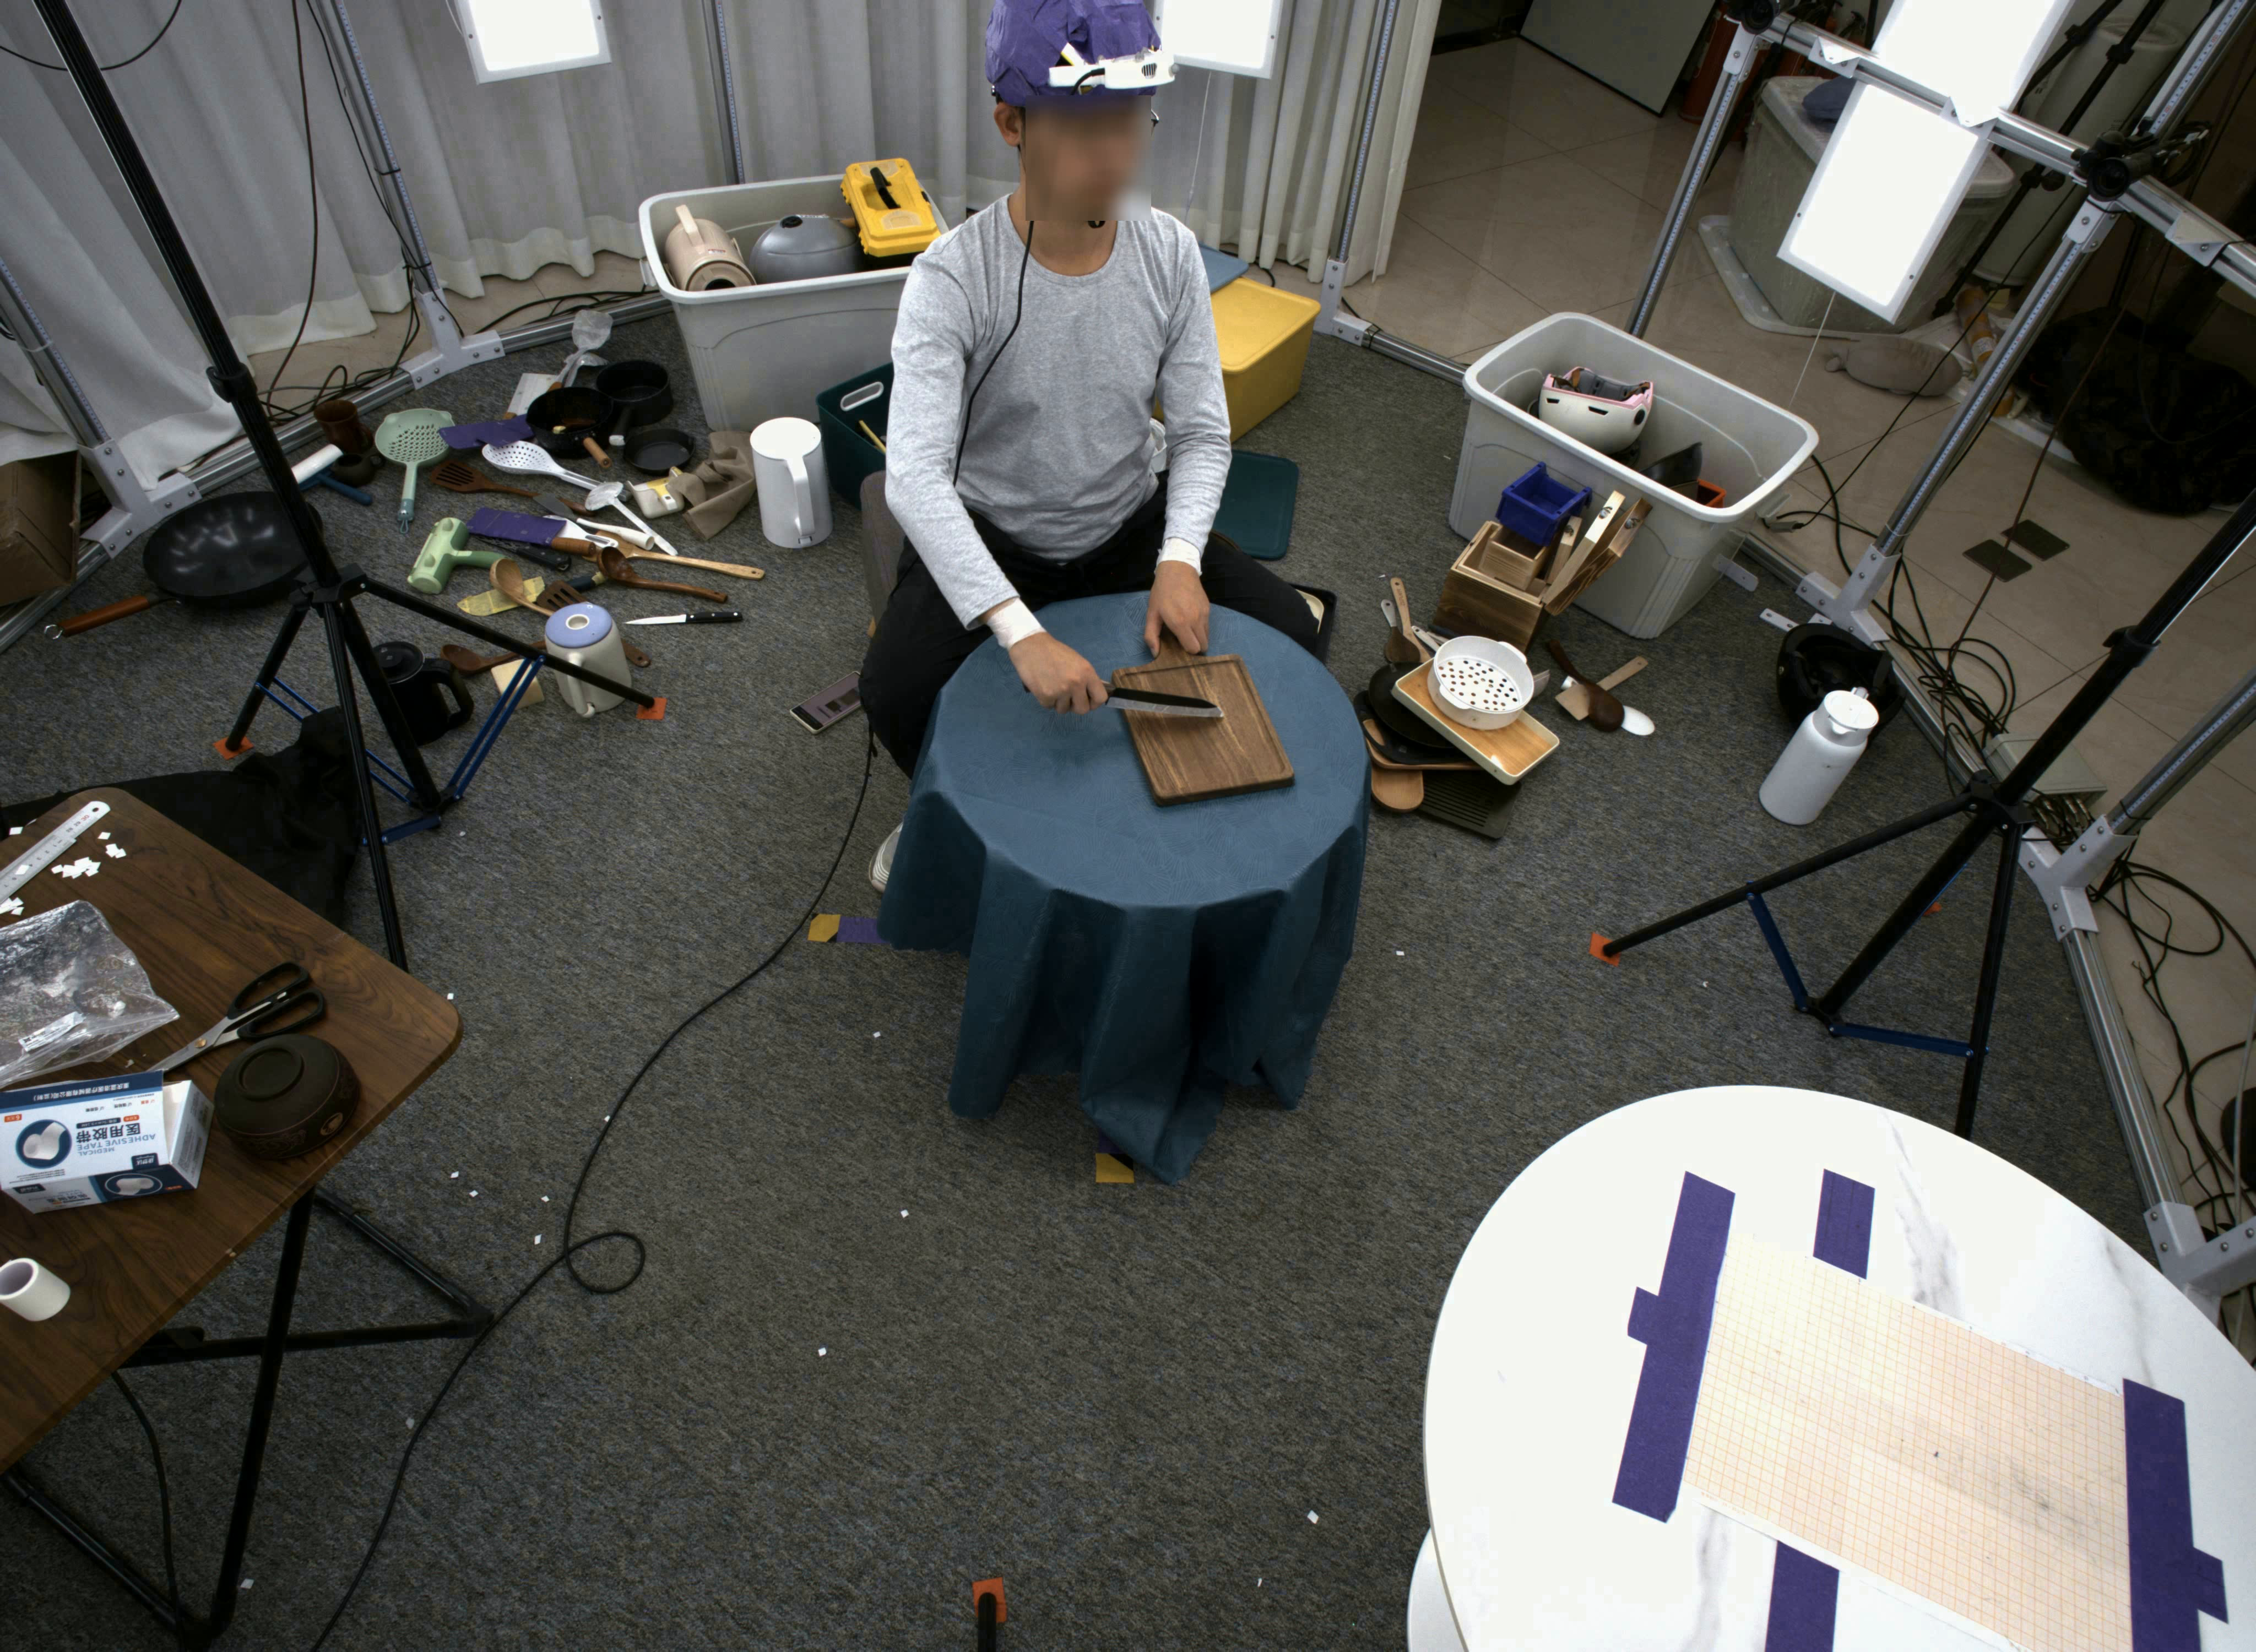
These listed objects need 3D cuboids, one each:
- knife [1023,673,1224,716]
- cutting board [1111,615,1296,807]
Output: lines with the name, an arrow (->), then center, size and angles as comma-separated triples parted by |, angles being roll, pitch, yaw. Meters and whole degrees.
knife -> -0.003, -0.176, 1.747 | 0.288, 0.049, 0.020 | 8, 59, -14
cutting board -> 0.089, -0.177, 1.814 | 0.201, 0.022, 0.361 | -9, 50, -12
